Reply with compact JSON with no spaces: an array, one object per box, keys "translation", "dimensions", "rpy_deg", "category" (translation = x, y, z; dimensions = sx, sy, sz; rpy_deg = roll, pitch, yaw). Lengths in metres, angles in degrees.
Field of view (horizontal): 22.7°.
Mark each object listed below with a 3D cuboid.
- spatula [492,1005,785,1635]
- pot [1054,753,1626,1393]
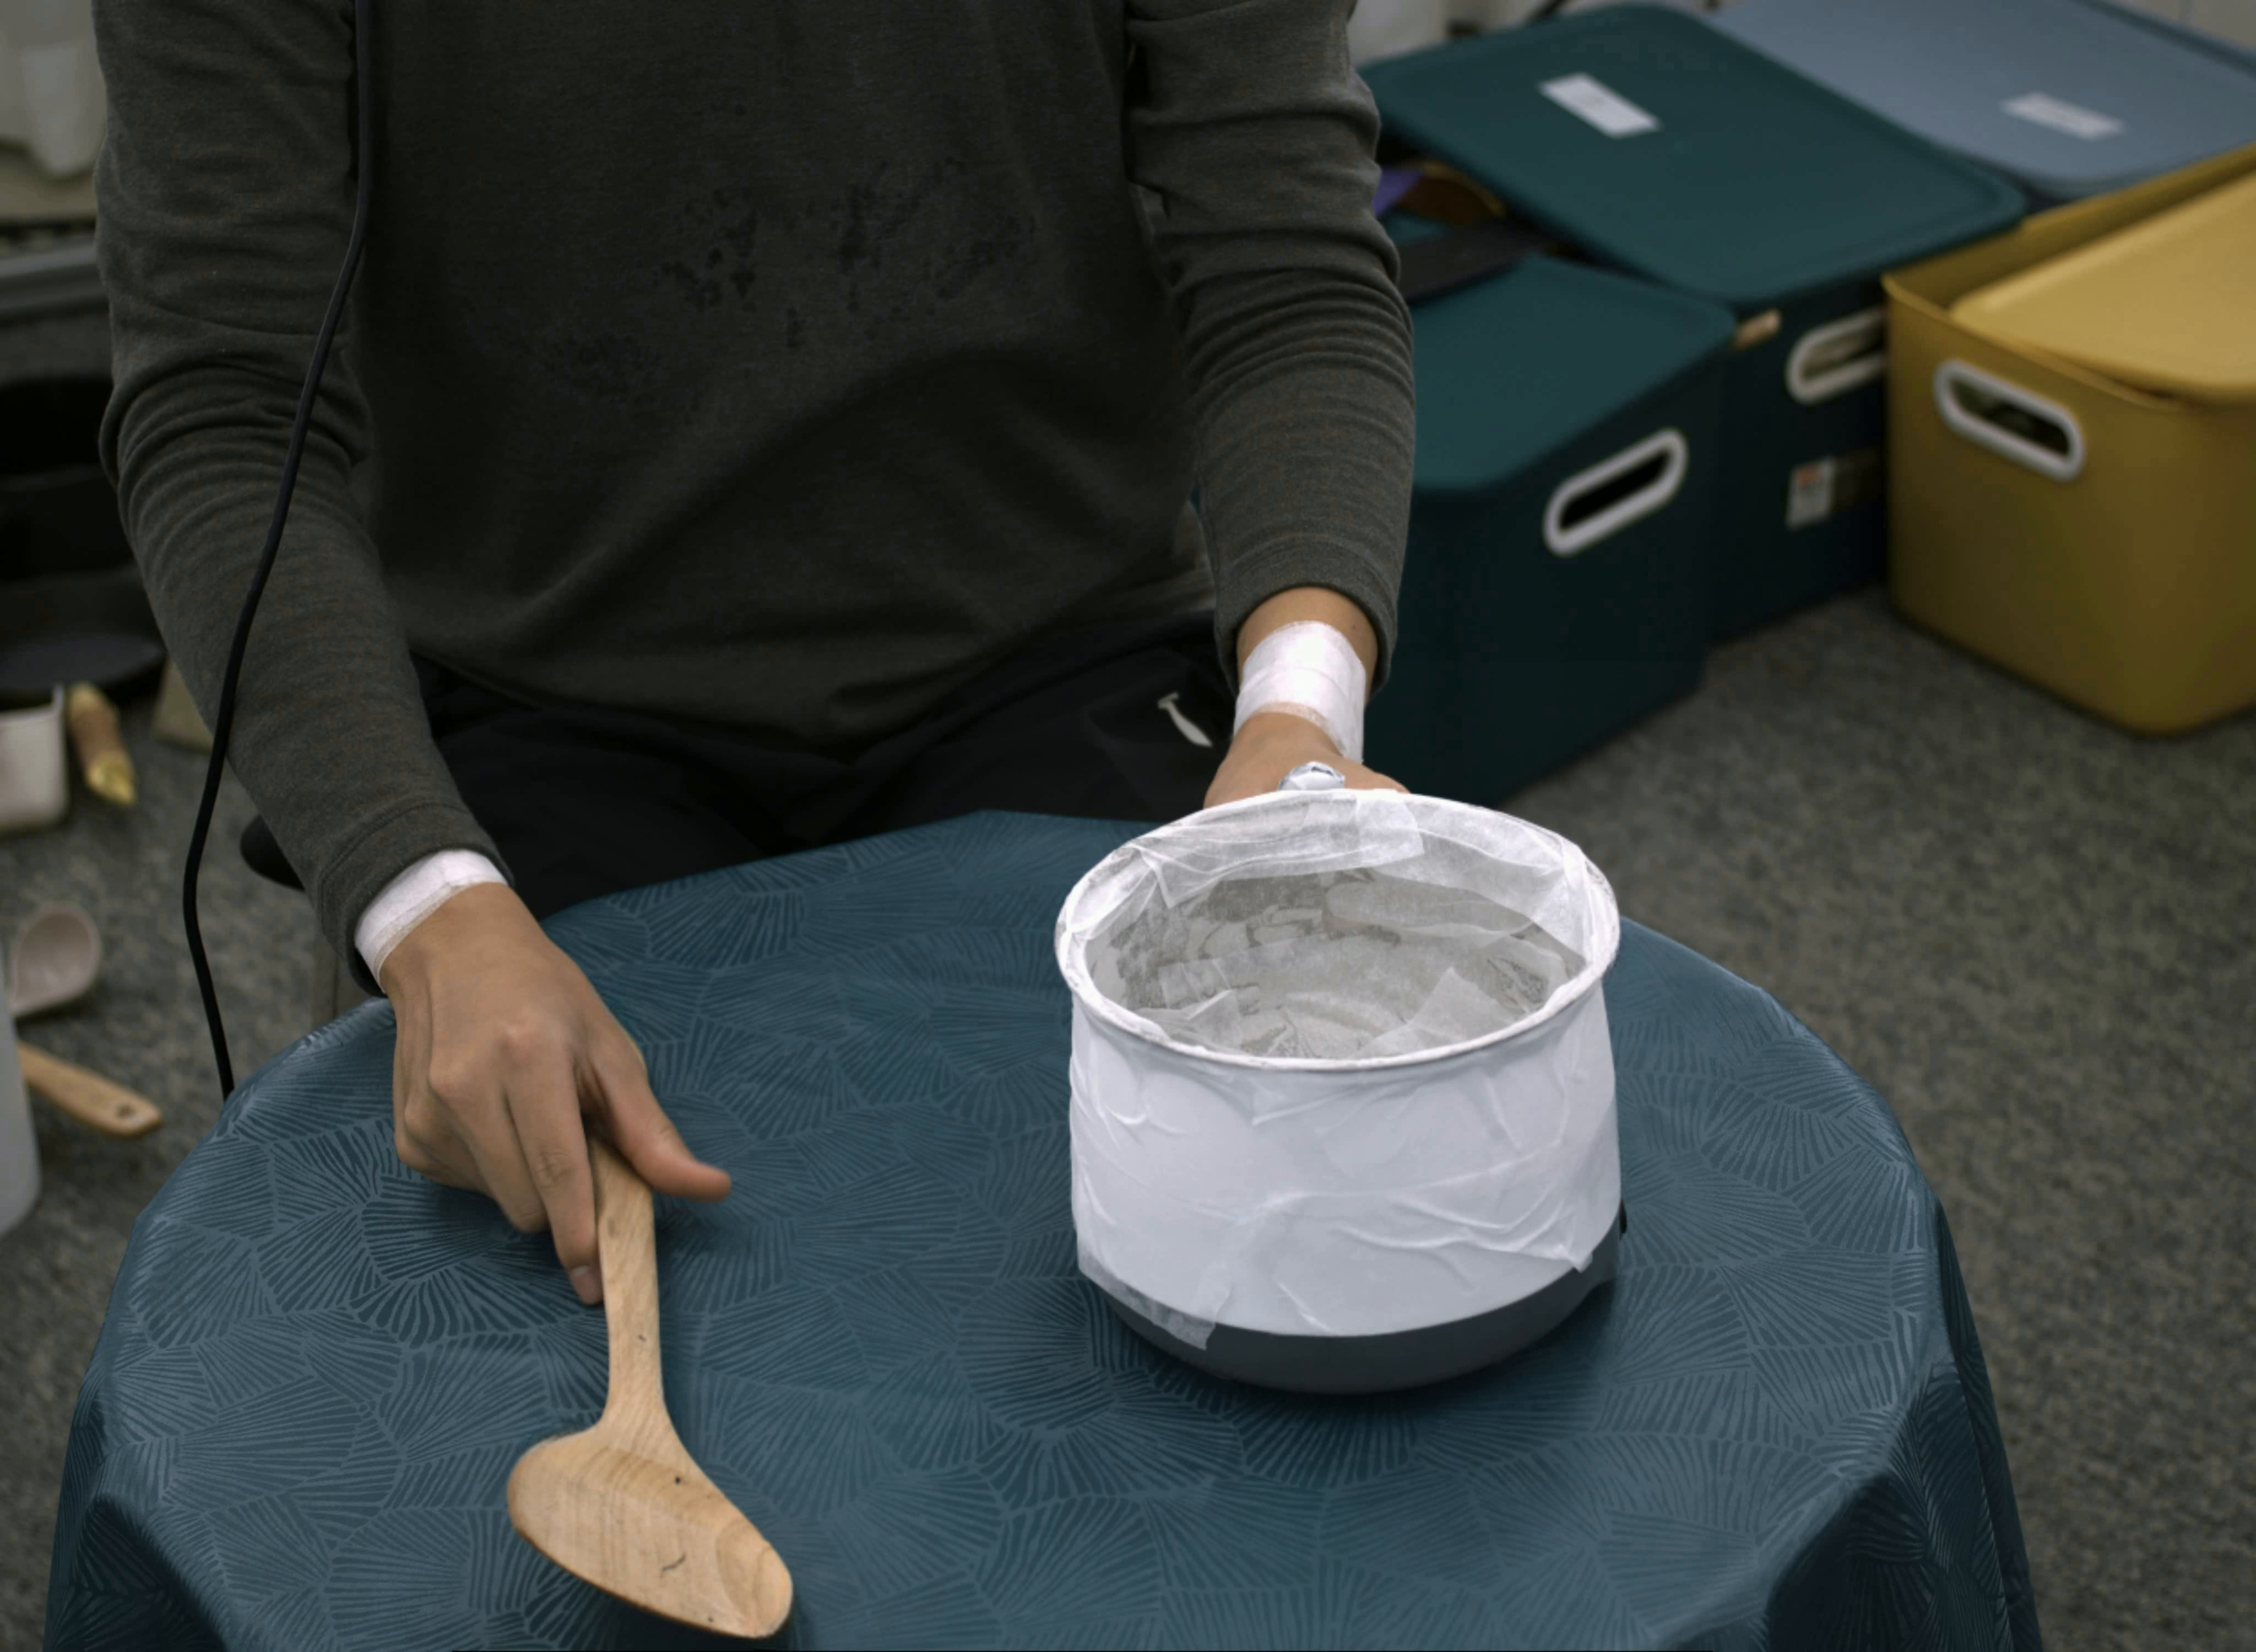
[{"translation":[-0.163,0.144,1.778],"dimensions":[0.095,0.018,0.395],"rpy_deg":[27,19,-18],"category":"spatula"},{"translation":[0.066,0.071,1.802],"dimensions":[0.178,0.135,0.237],"rpy_deg":[-4,28,-2],"category":"pot"}]
